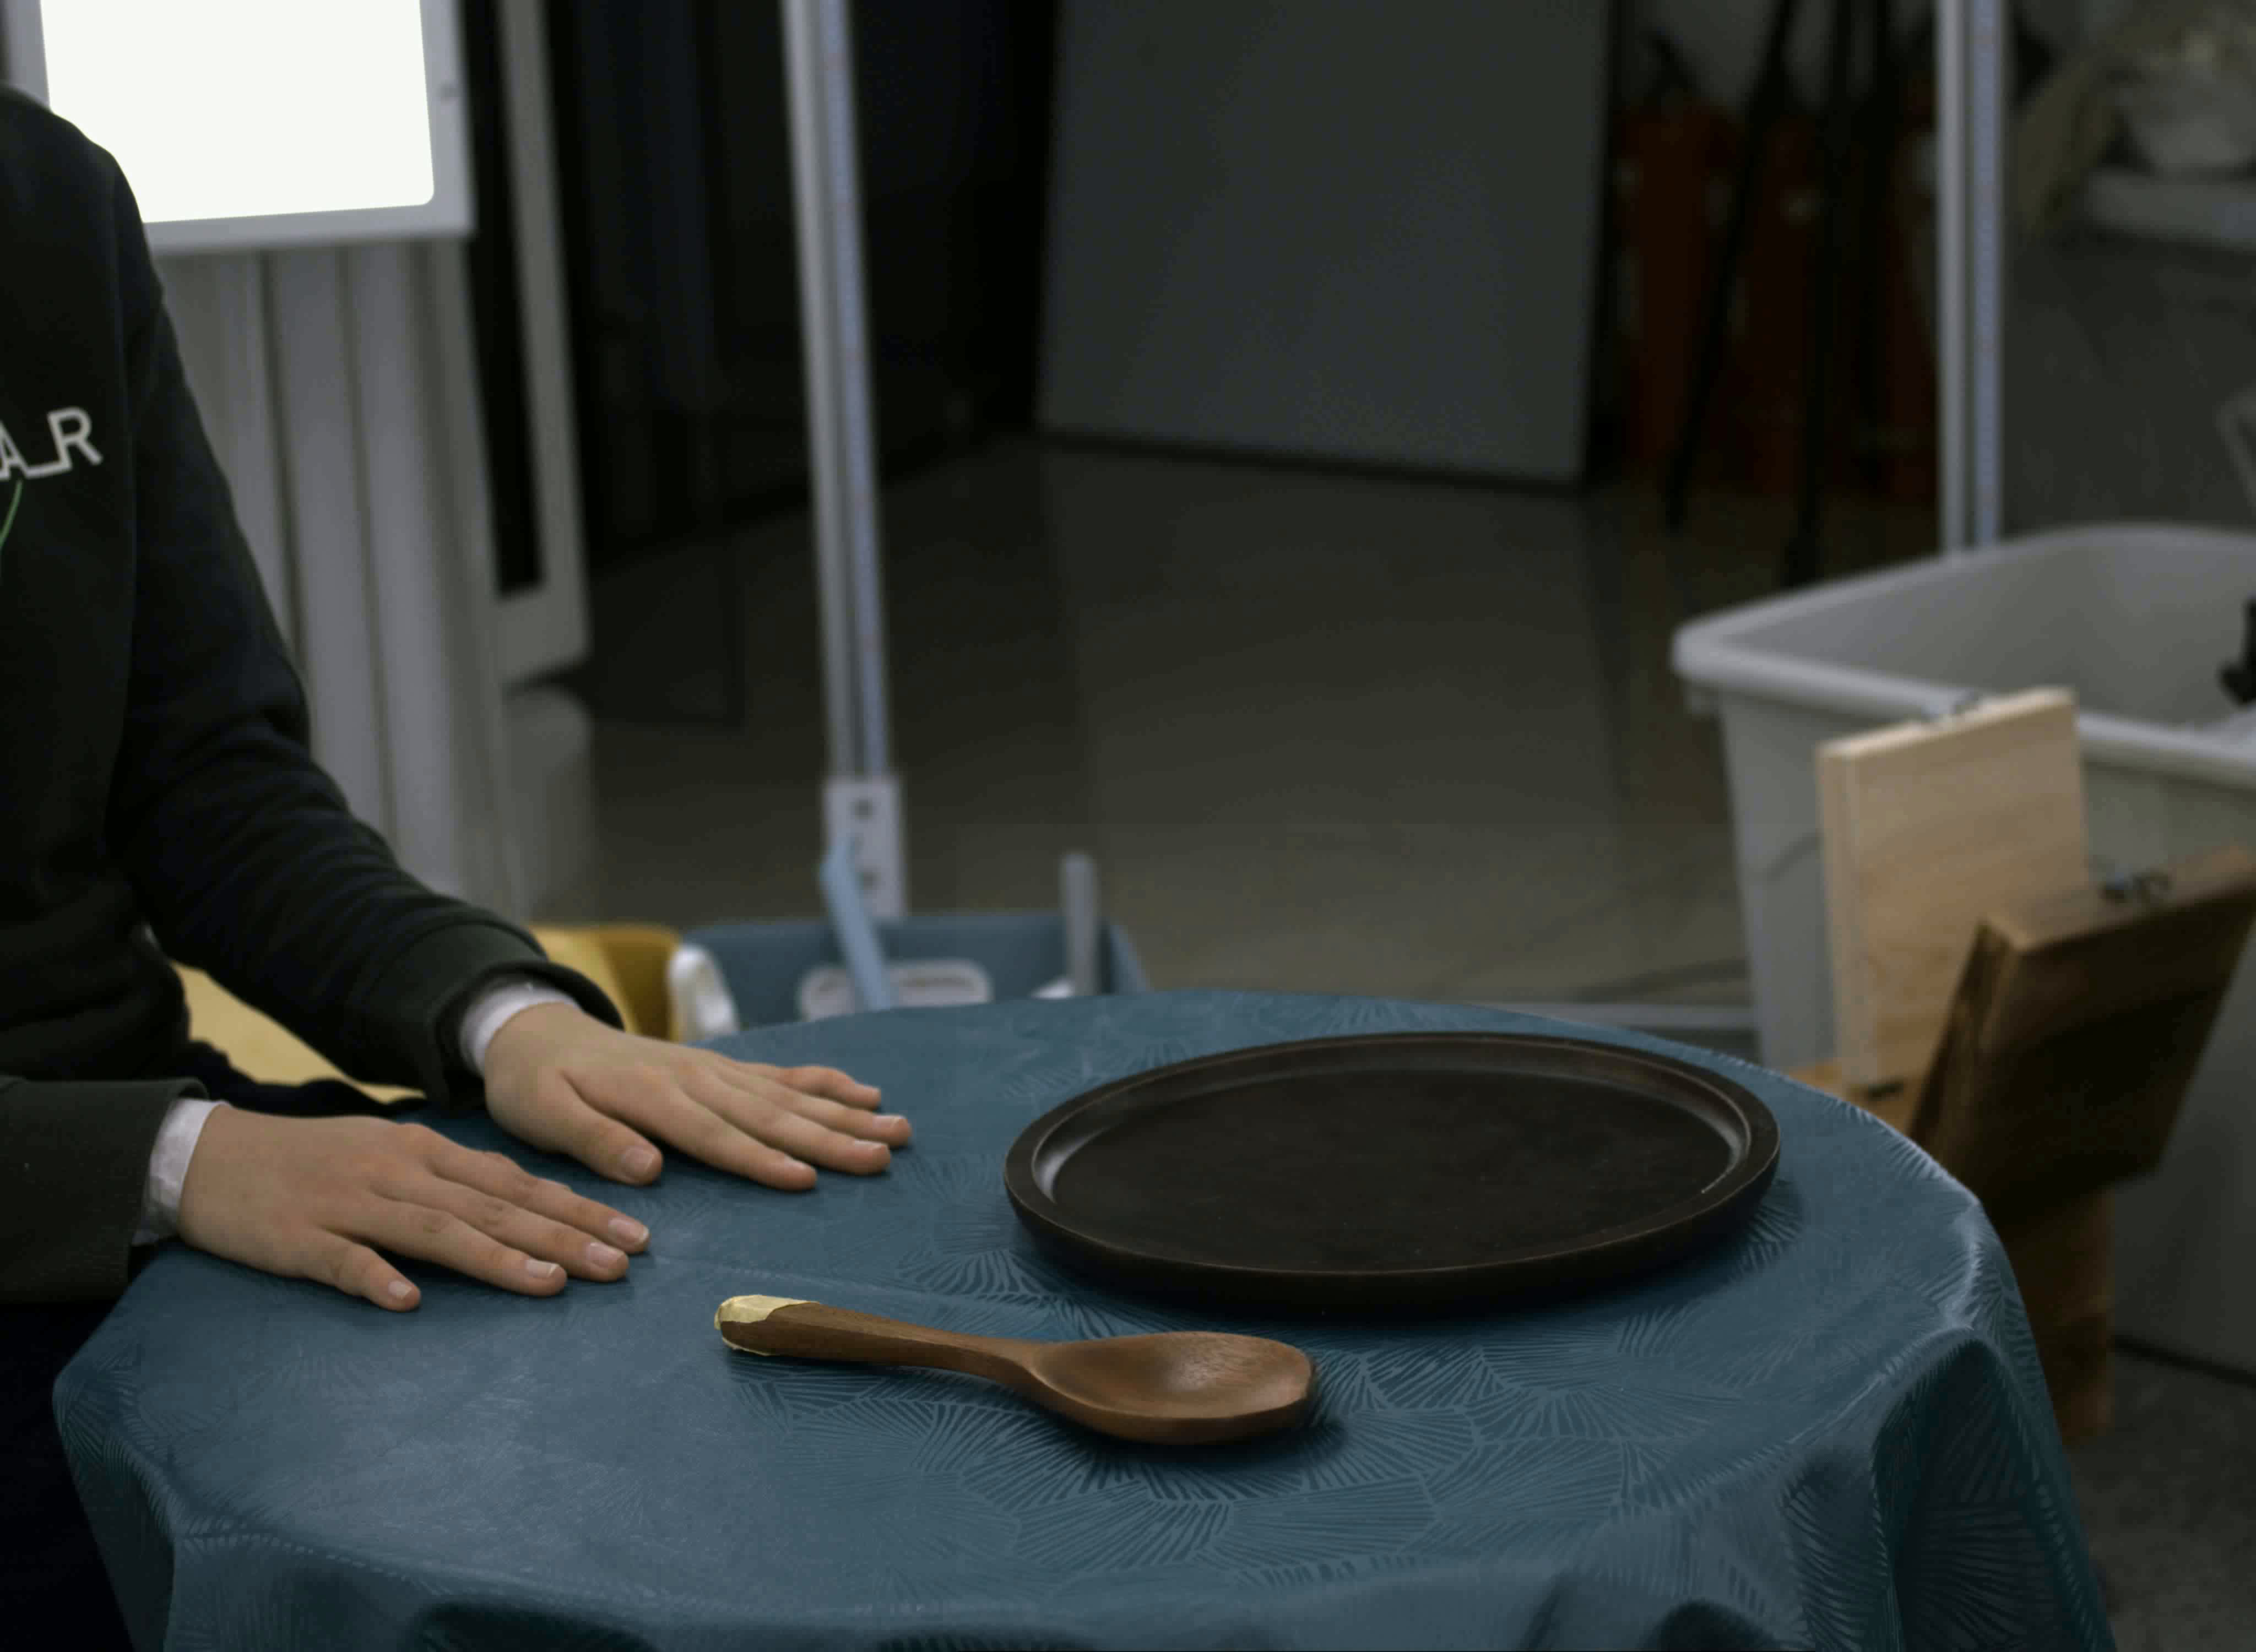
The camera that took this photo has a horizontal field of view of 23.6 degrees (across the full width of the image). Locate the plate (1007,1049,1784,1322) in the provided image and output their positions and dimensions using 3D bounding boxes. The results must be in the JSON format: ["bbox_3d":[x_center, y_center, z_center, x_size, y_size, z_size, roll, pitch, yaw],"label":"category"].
[{"bbox_3d":[0.086,0.113,1.735,0.251,0.029,0.255,-3,13,0],"label":"plate"}]

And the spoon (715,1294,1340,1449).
[{"bbox_3d":[-0.033,0.159,1.591,0.217,0.017,0.074,6,17,34],"label":"spoon"}]
